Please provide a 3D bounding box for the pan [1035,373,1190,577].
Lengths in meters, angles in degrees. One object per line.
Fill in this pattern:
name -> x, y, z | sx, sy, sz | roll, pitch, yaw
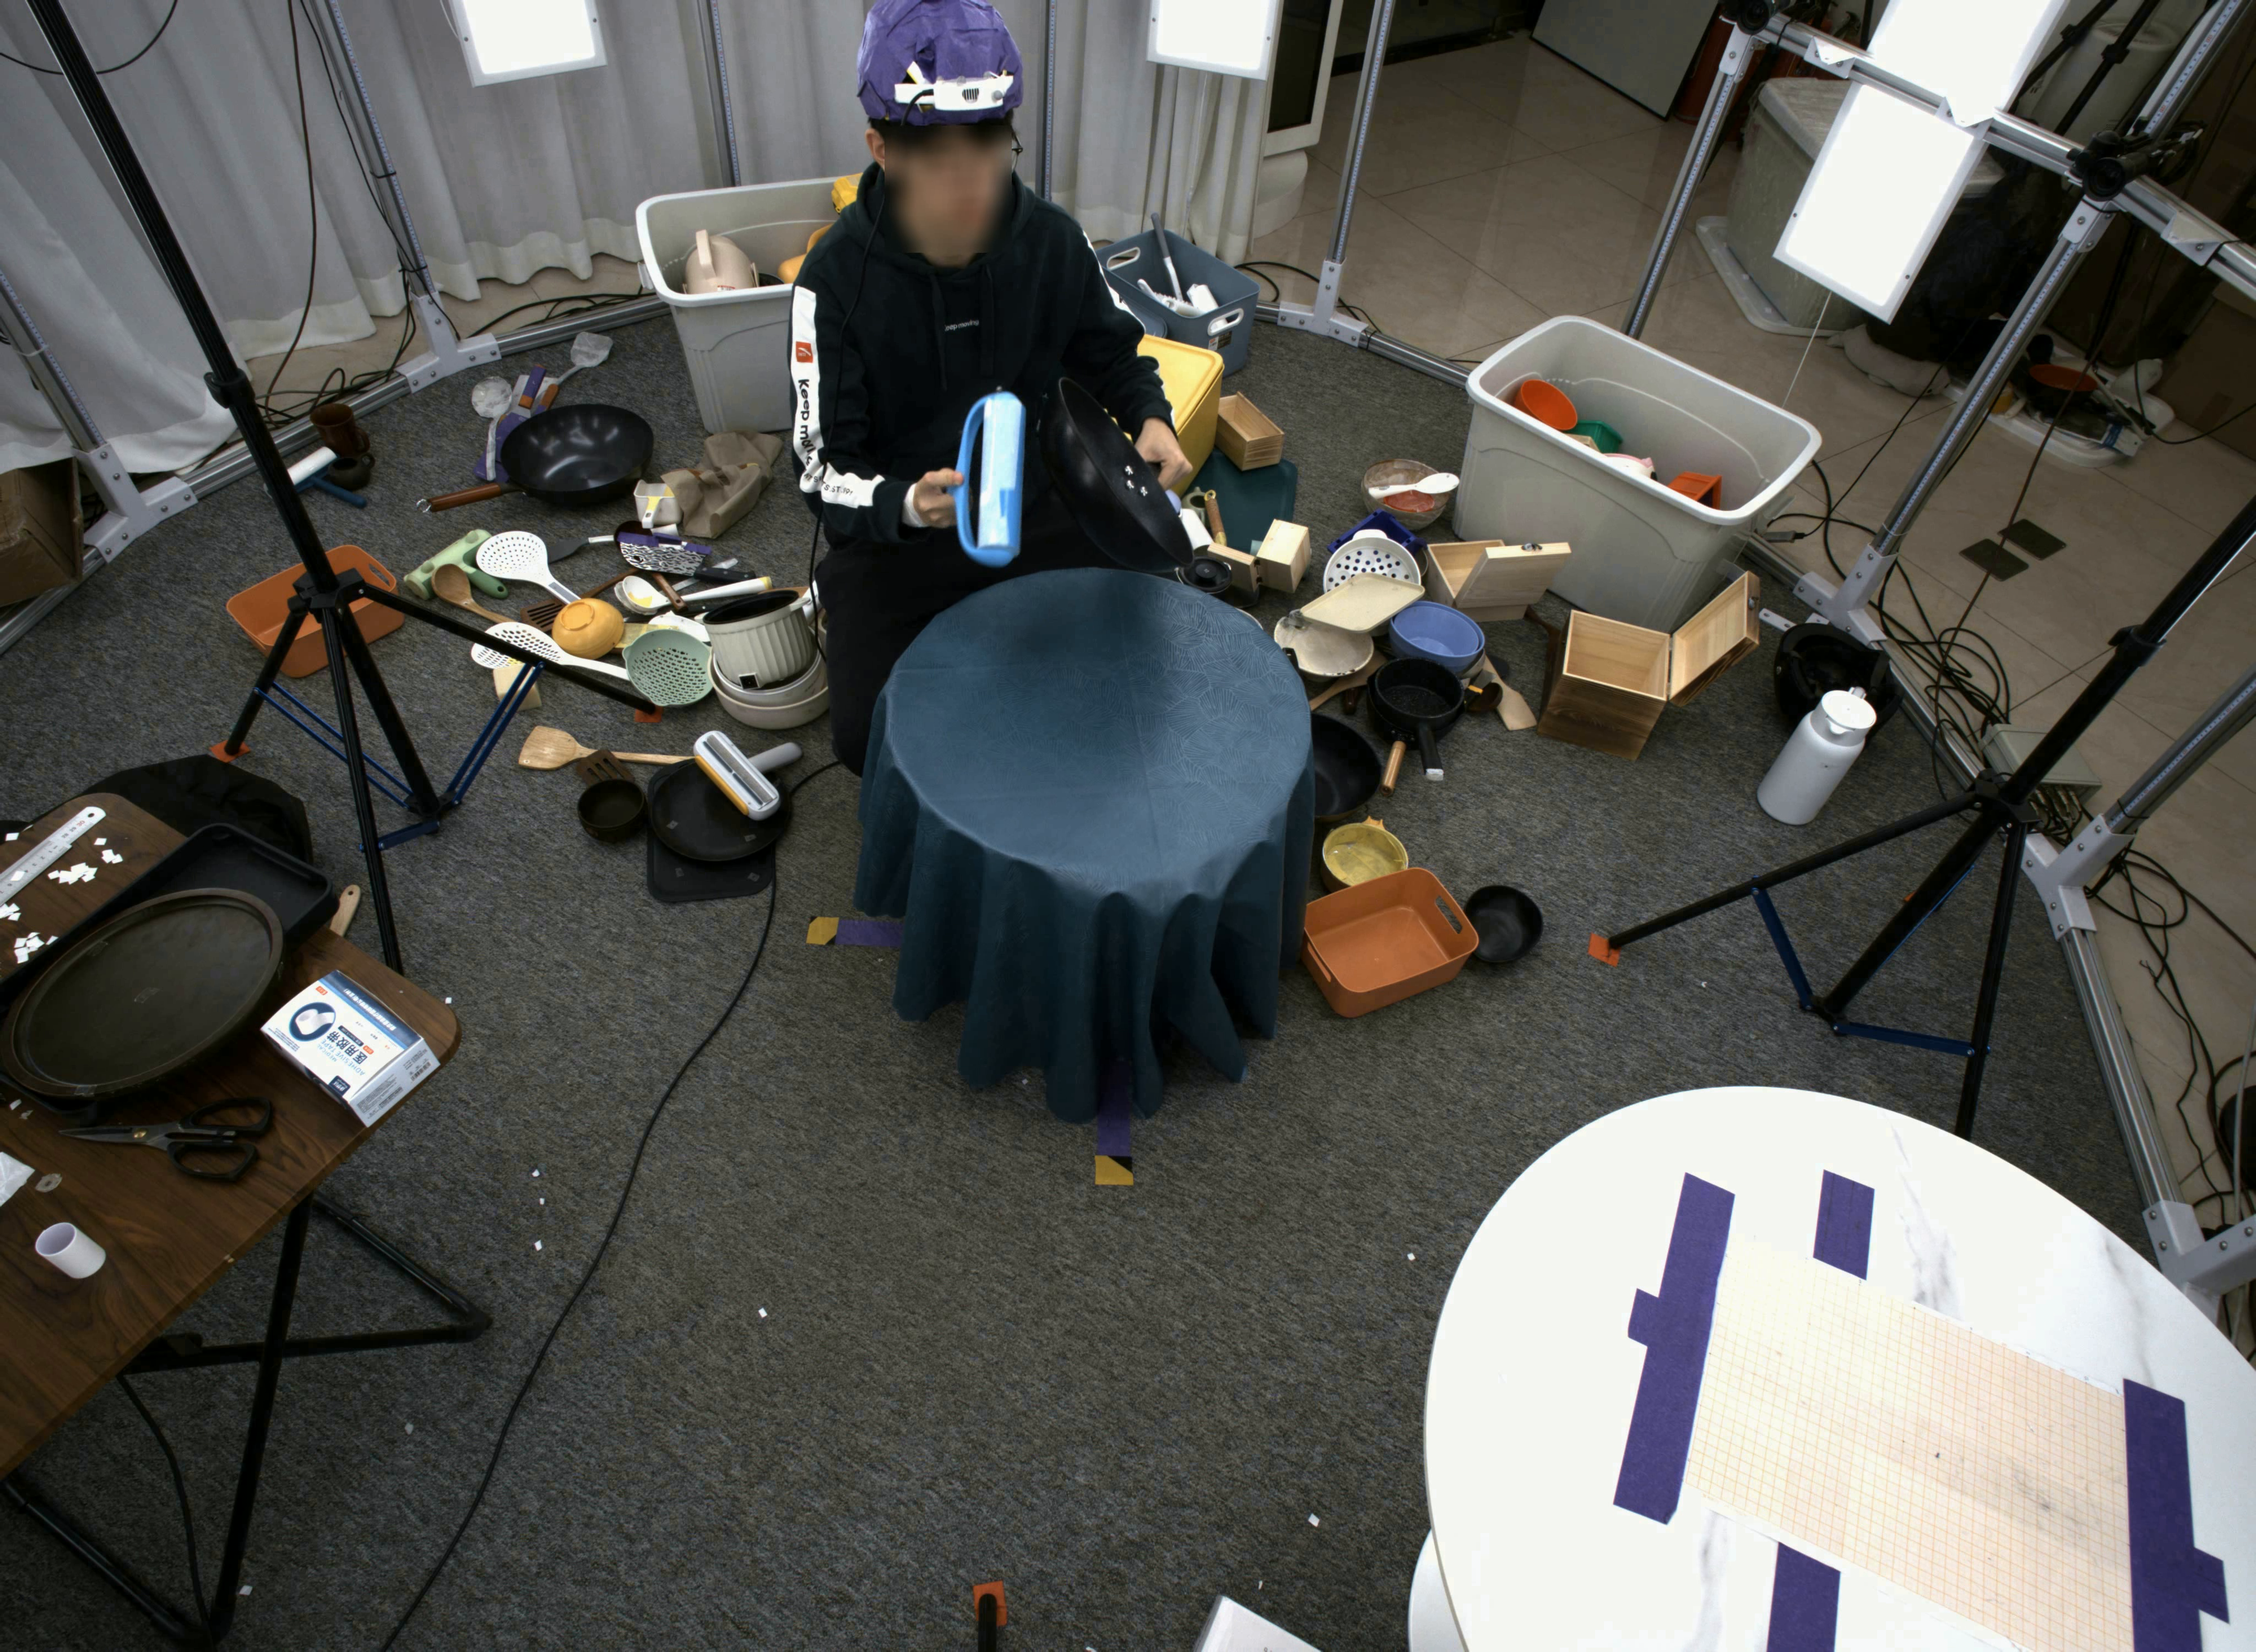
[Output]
pan -> -0.008, -0.488, 1.844 | 0.309, 0.111, 0.481 | 56, 19, -6

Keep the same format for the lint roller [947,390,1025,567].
lint roller -> -0.200, -0.437, 1.690 | 0.067, 0.180, 0.231 | 7, 79, -39
